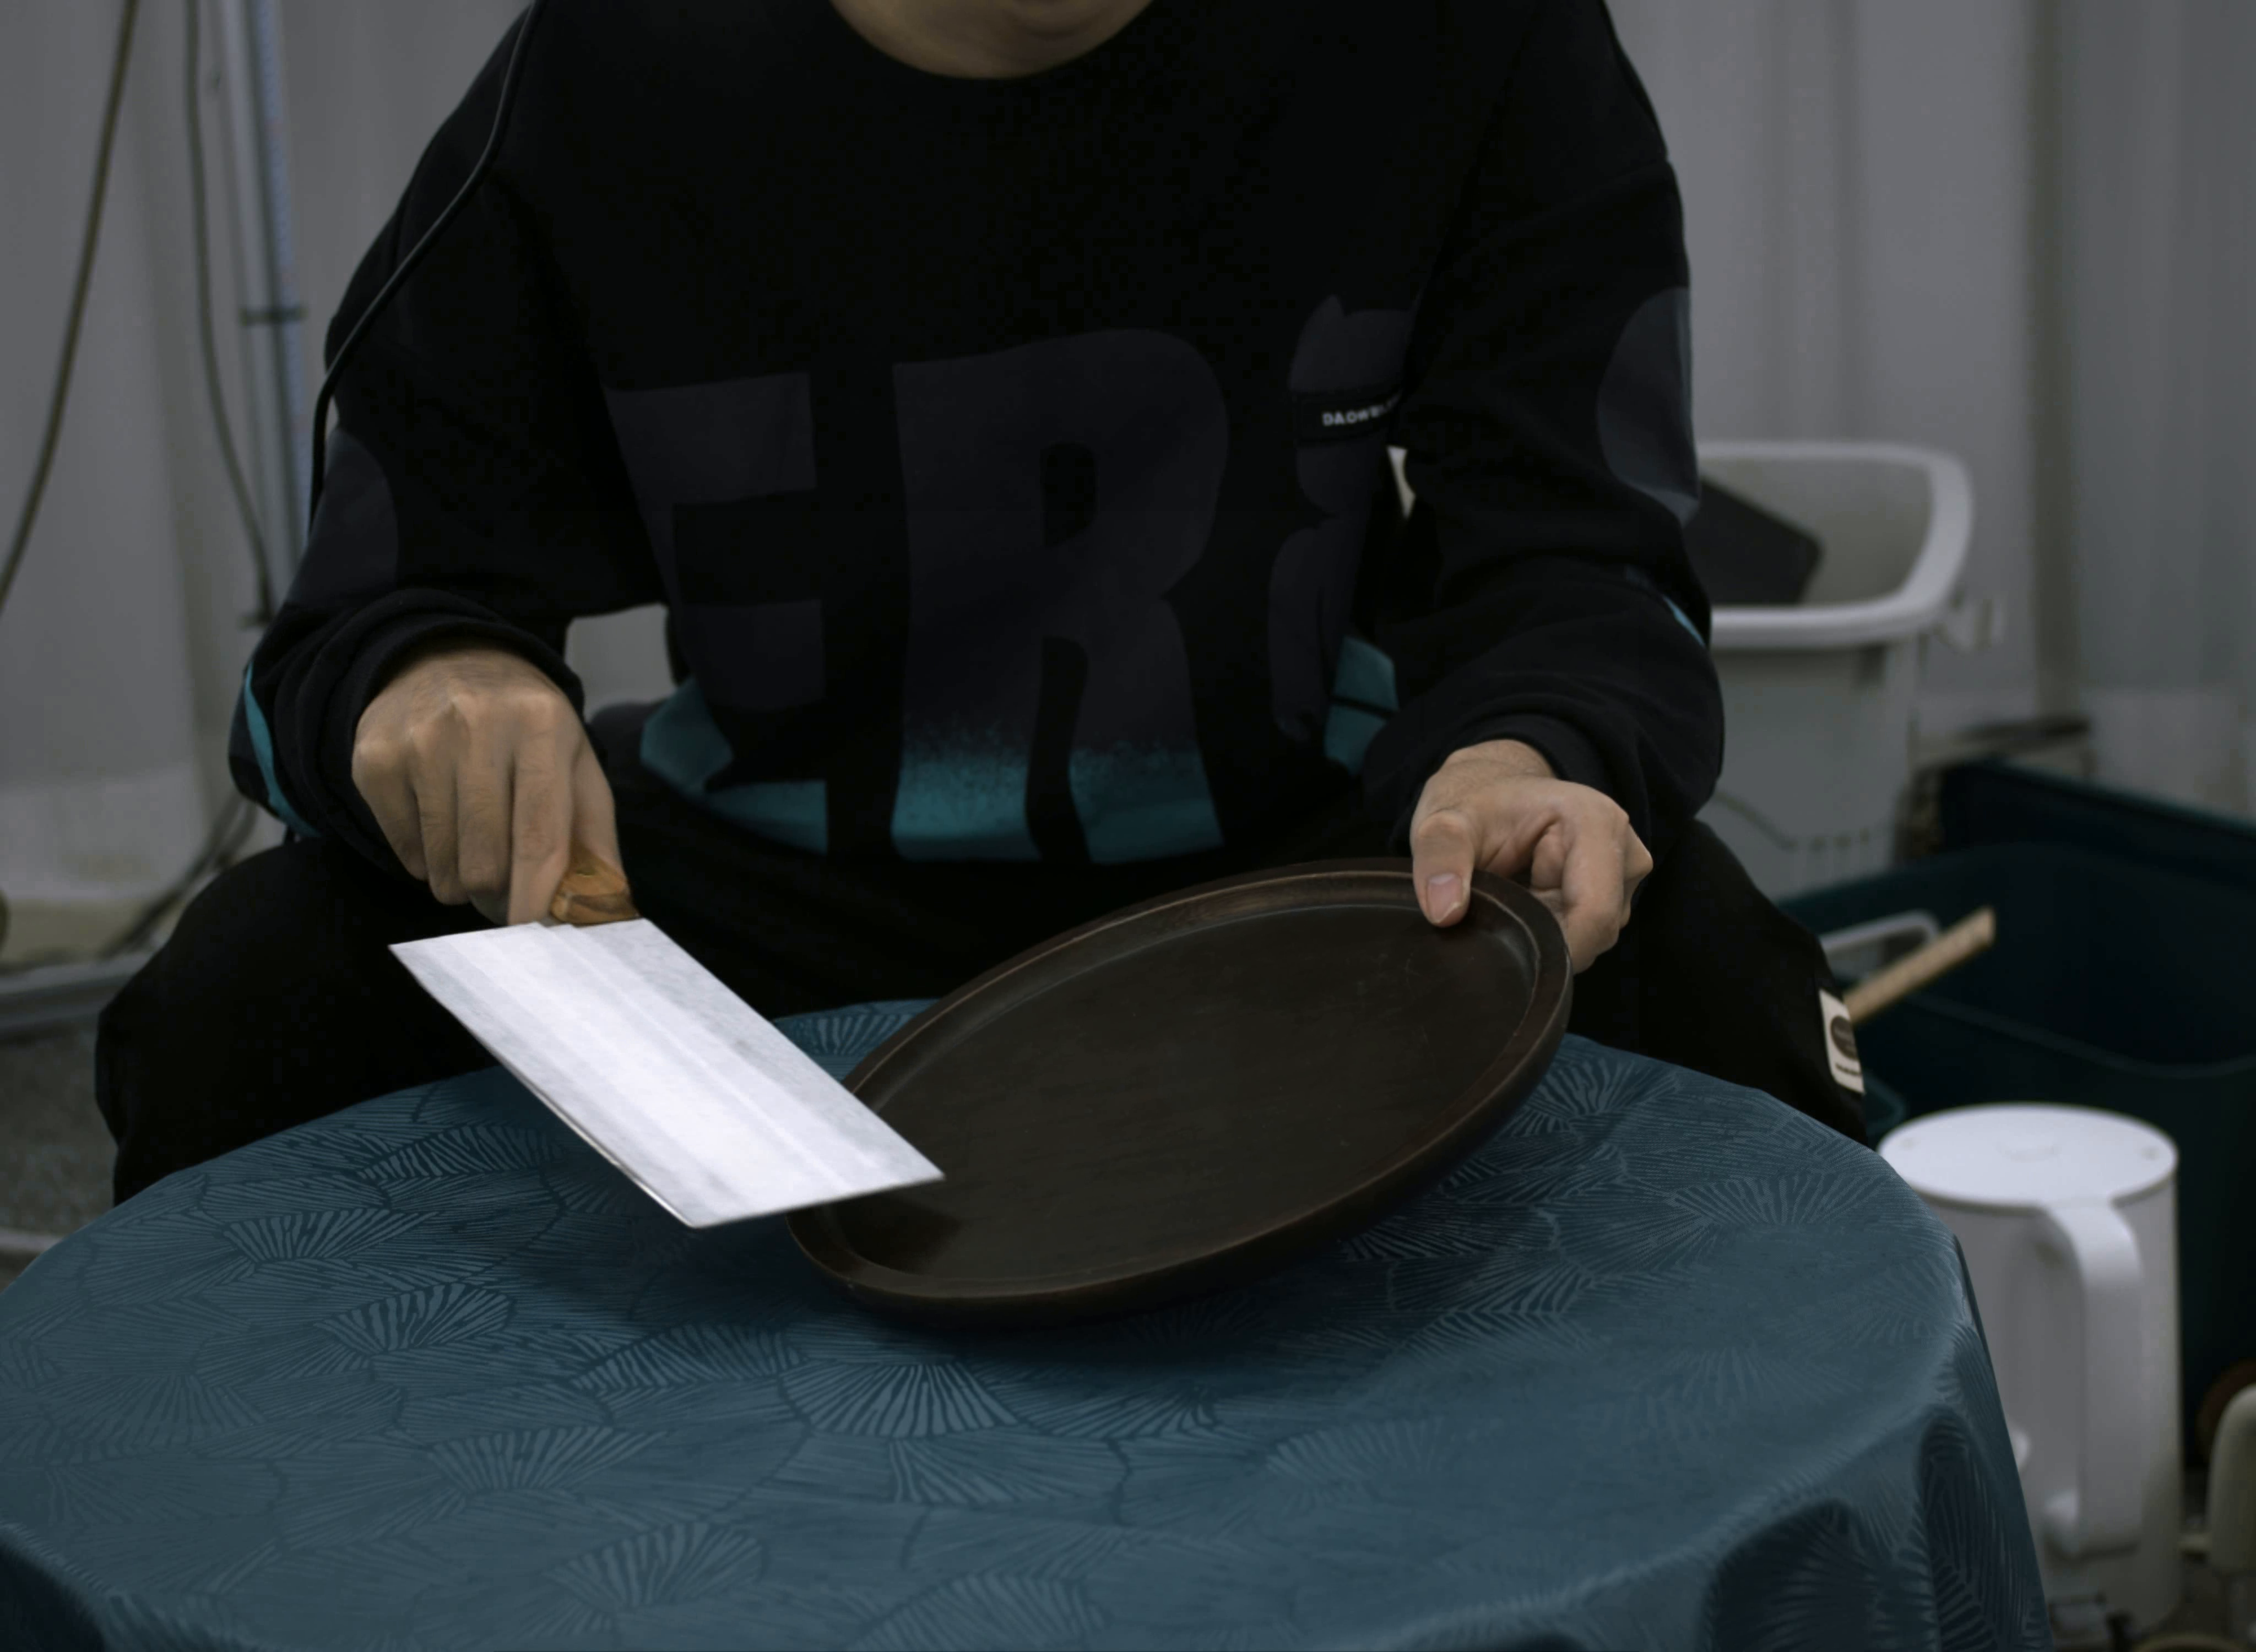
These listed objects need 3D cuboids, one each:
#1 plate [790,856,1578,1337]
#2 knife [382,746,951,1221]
[{"bbox_3d":[0.017,0.081,1.662,0.254,0.029,0.257,-16,23,6],"label":"plate"},{"bbox_3d":[-0.172,0.048,1.726,0.092,0.021,0.309,-9,30,-35],"label":"knife"}]
